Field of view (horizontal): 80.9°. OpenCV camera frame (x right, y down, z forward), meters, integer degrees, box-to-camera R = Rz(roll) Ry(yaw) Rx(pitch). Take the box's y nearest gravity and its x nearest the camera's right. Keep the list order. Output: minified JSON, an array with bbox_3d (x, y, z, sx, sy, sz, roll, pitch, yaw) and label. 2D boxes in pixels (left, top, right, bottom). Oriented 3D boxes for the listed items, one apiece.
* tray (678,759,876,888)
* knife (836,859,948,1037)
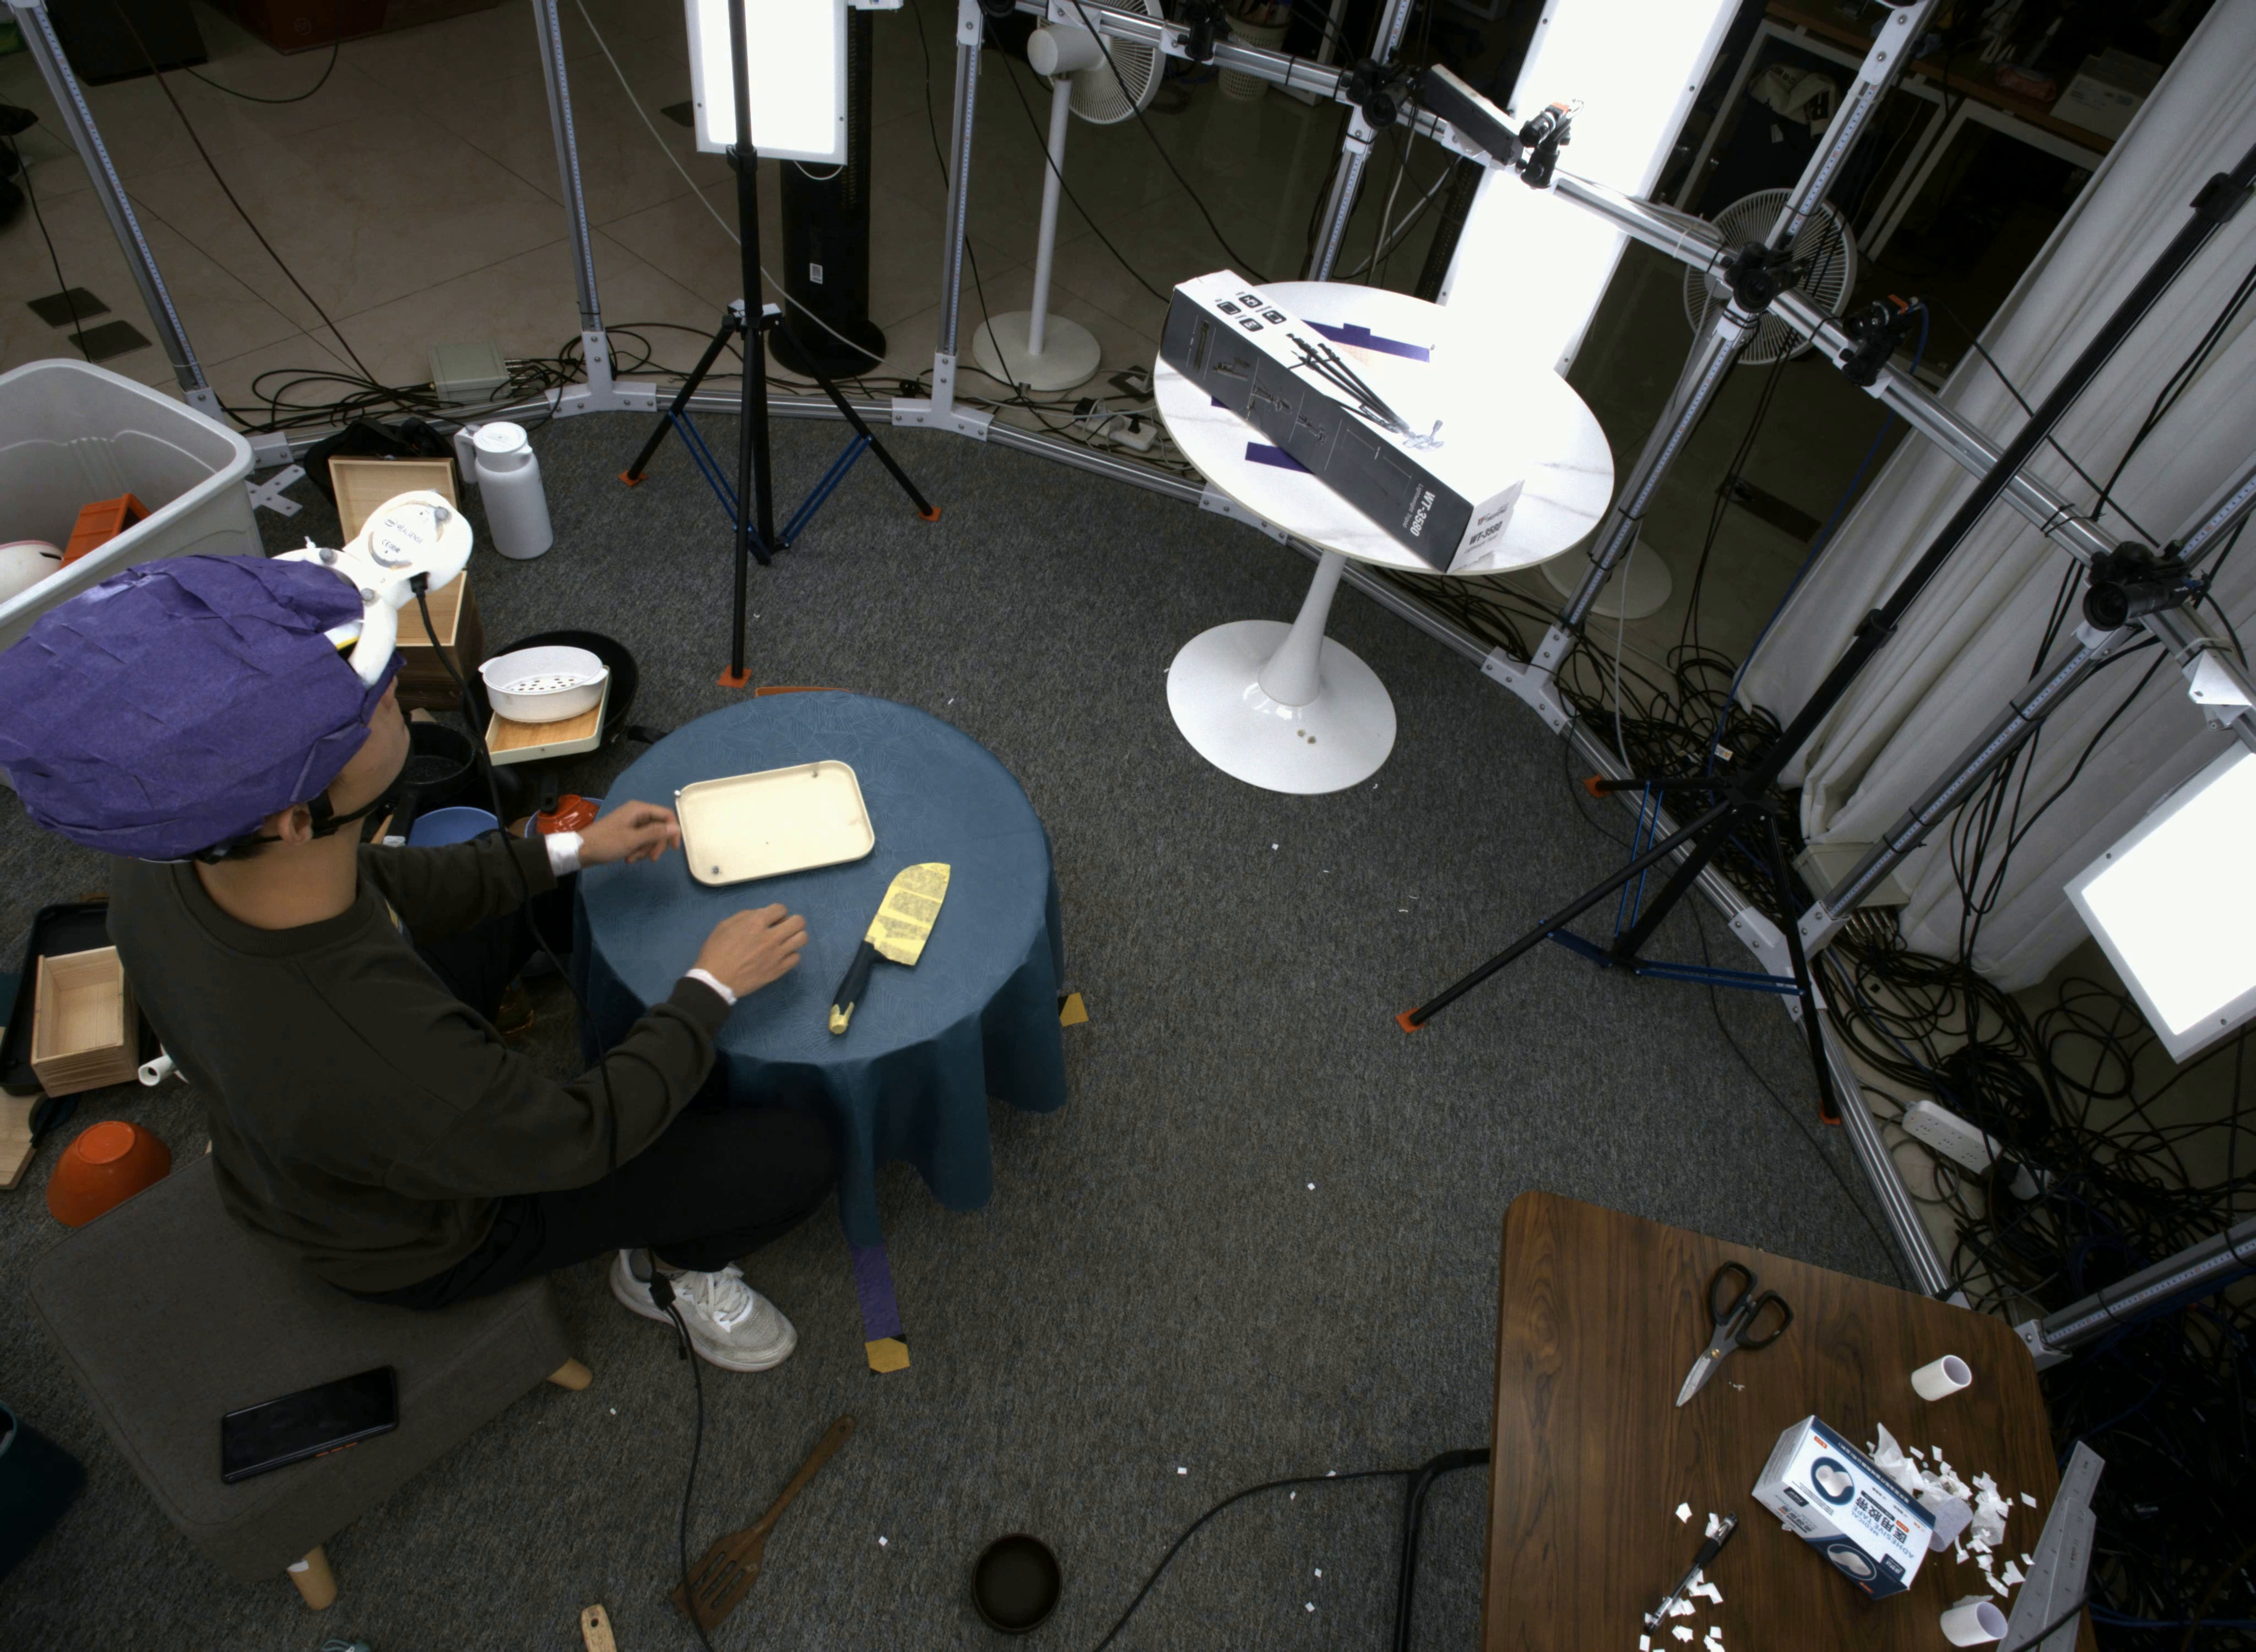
[{"bbox_3d":[-0.465,-0.005,1.717,0.241,0.018,0.167,-11,58,-22],"label":"tray"},{"bbox_3d":[-0.297,0.147,1.649,0.080,0.028,0.286,19,51,3],"label":"knife"}]
